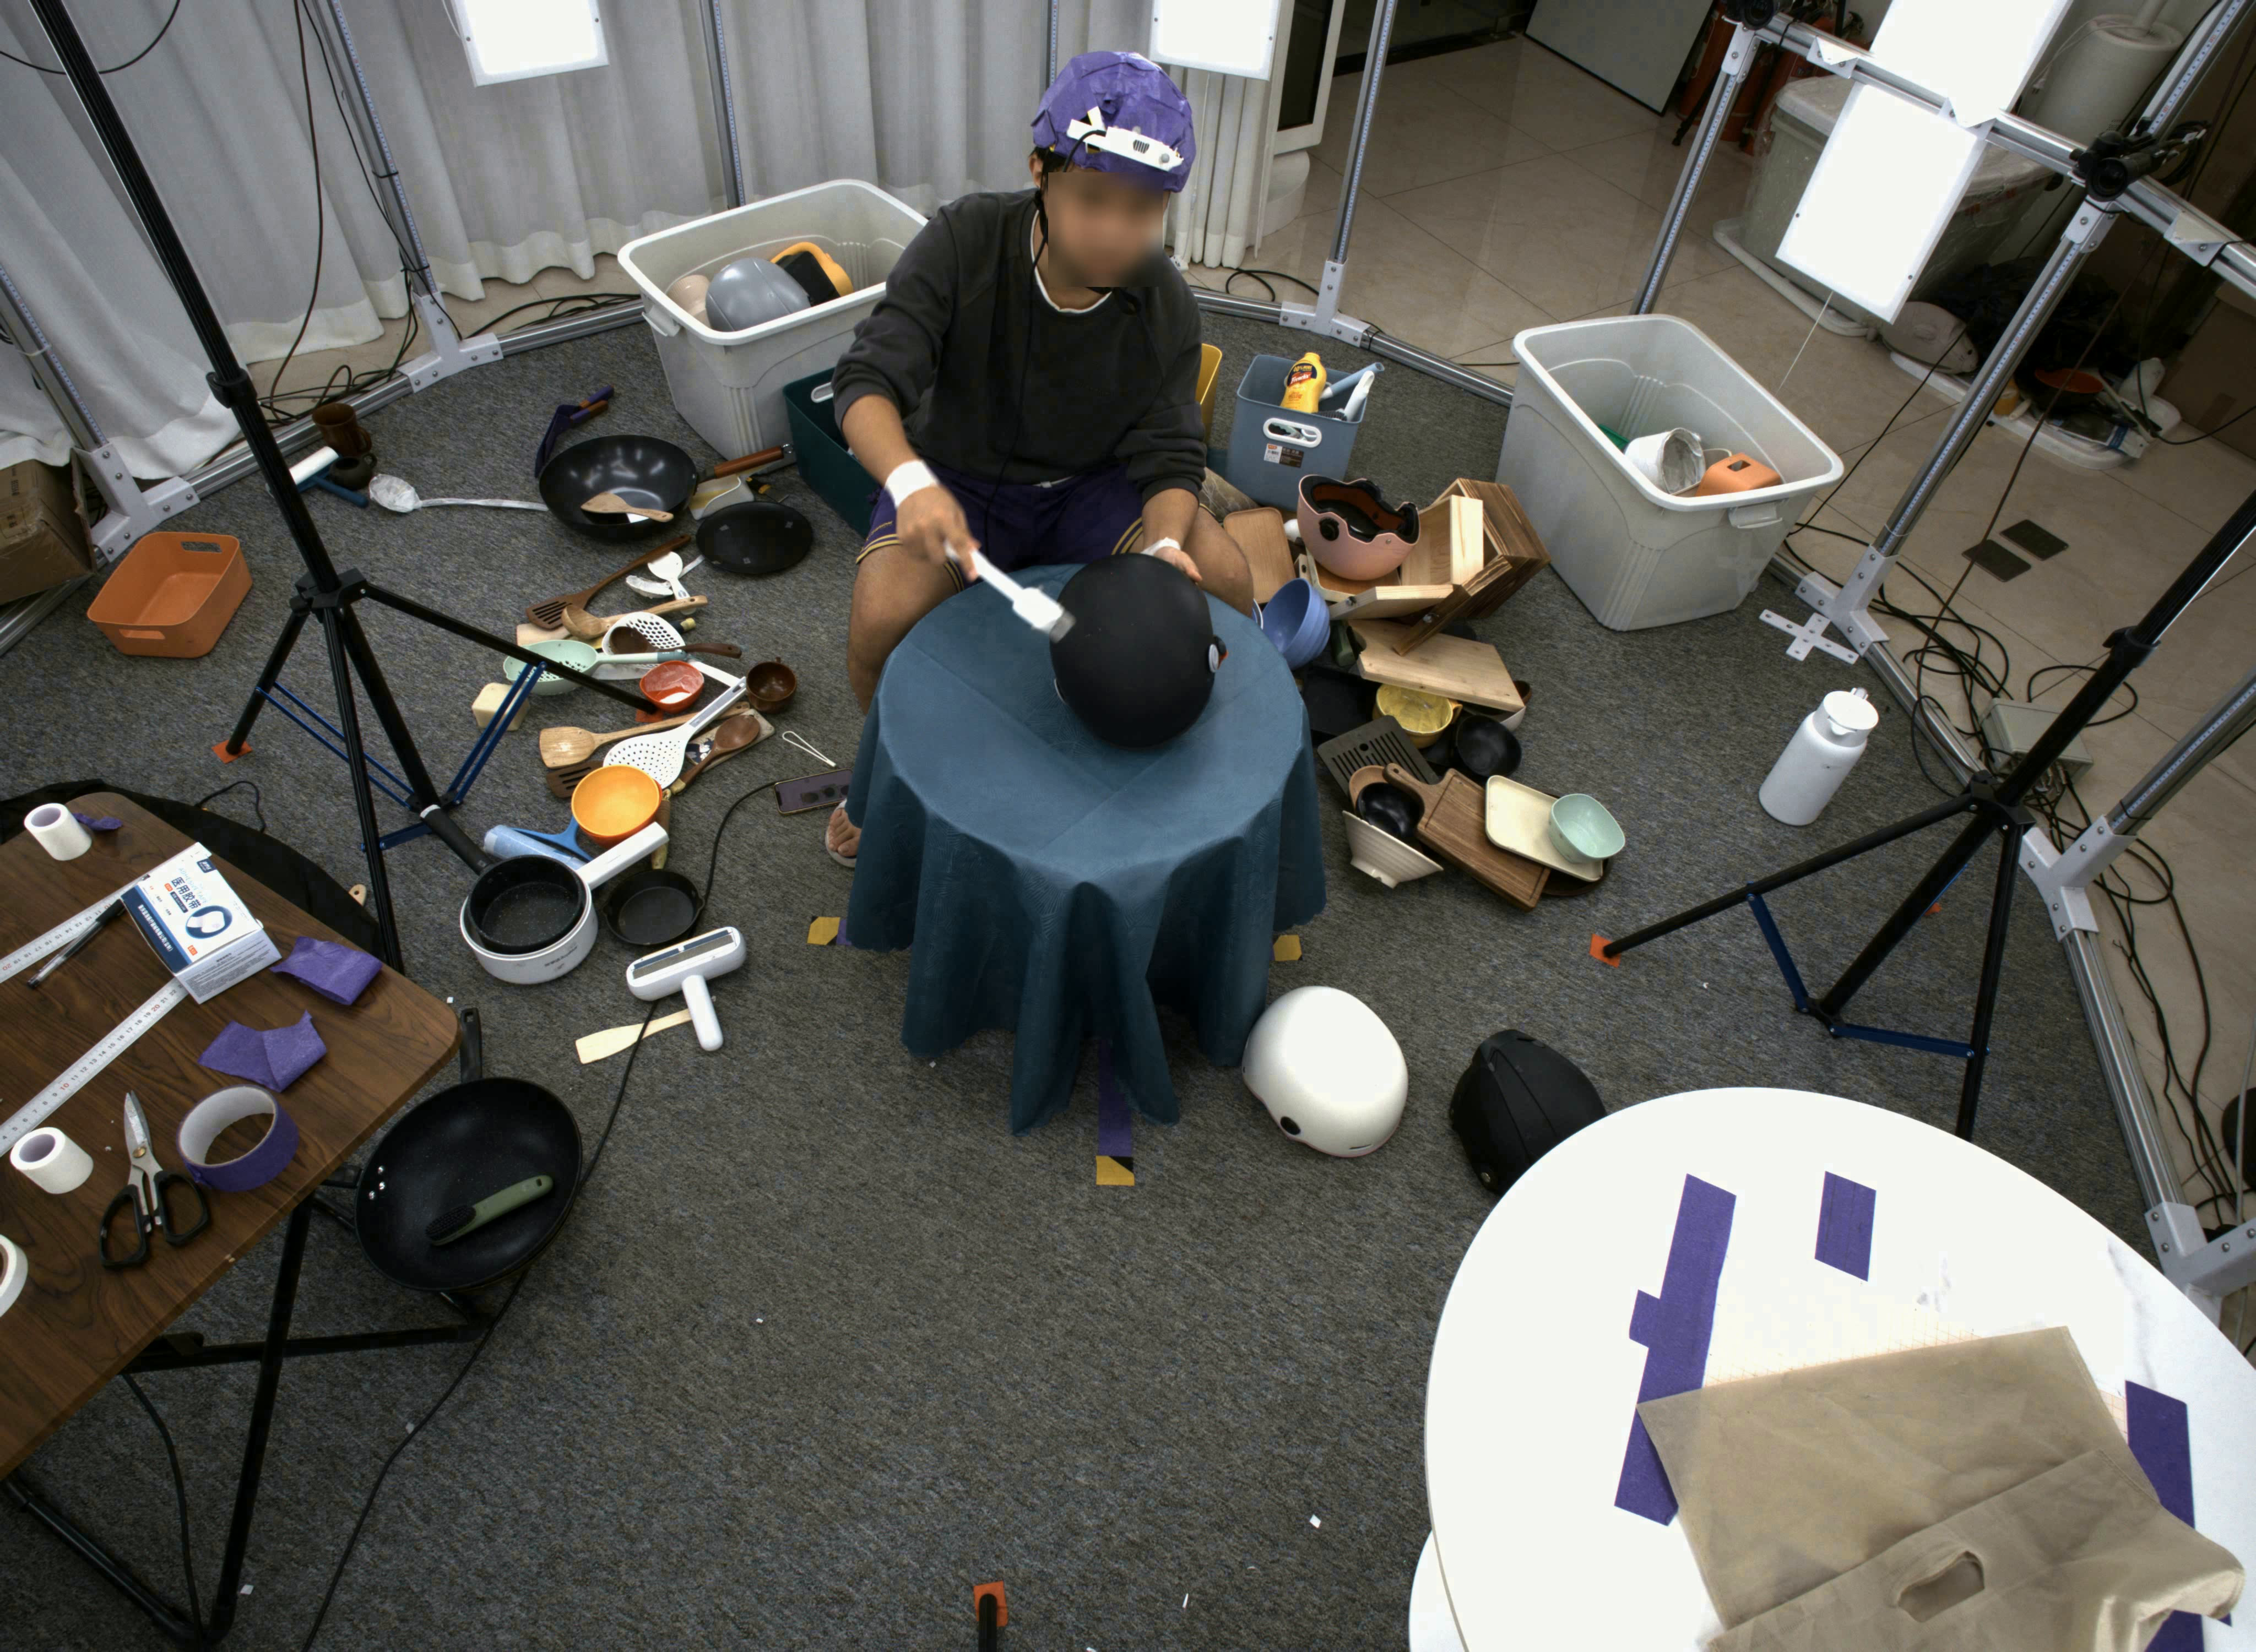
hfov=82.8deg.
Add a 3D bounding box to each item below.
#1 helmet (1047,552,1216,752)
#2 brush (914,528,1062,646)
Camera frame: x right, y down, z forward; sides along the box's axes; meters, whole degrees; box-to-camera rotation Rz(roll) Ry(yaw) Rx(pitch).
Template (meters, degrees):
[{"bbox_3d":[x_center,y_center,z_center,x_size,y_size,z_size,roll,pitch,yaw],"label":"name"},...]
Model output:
[{"bbox_3d":[-0.005,-0.251,1.722,0.230,0.164,0.277,-9,70,17],"label":"helmet"},{"bbox_3d":[-0.175,-0.300,1.609,0.247,0.049,0.034,39,91,26],"label":"brush"}]
